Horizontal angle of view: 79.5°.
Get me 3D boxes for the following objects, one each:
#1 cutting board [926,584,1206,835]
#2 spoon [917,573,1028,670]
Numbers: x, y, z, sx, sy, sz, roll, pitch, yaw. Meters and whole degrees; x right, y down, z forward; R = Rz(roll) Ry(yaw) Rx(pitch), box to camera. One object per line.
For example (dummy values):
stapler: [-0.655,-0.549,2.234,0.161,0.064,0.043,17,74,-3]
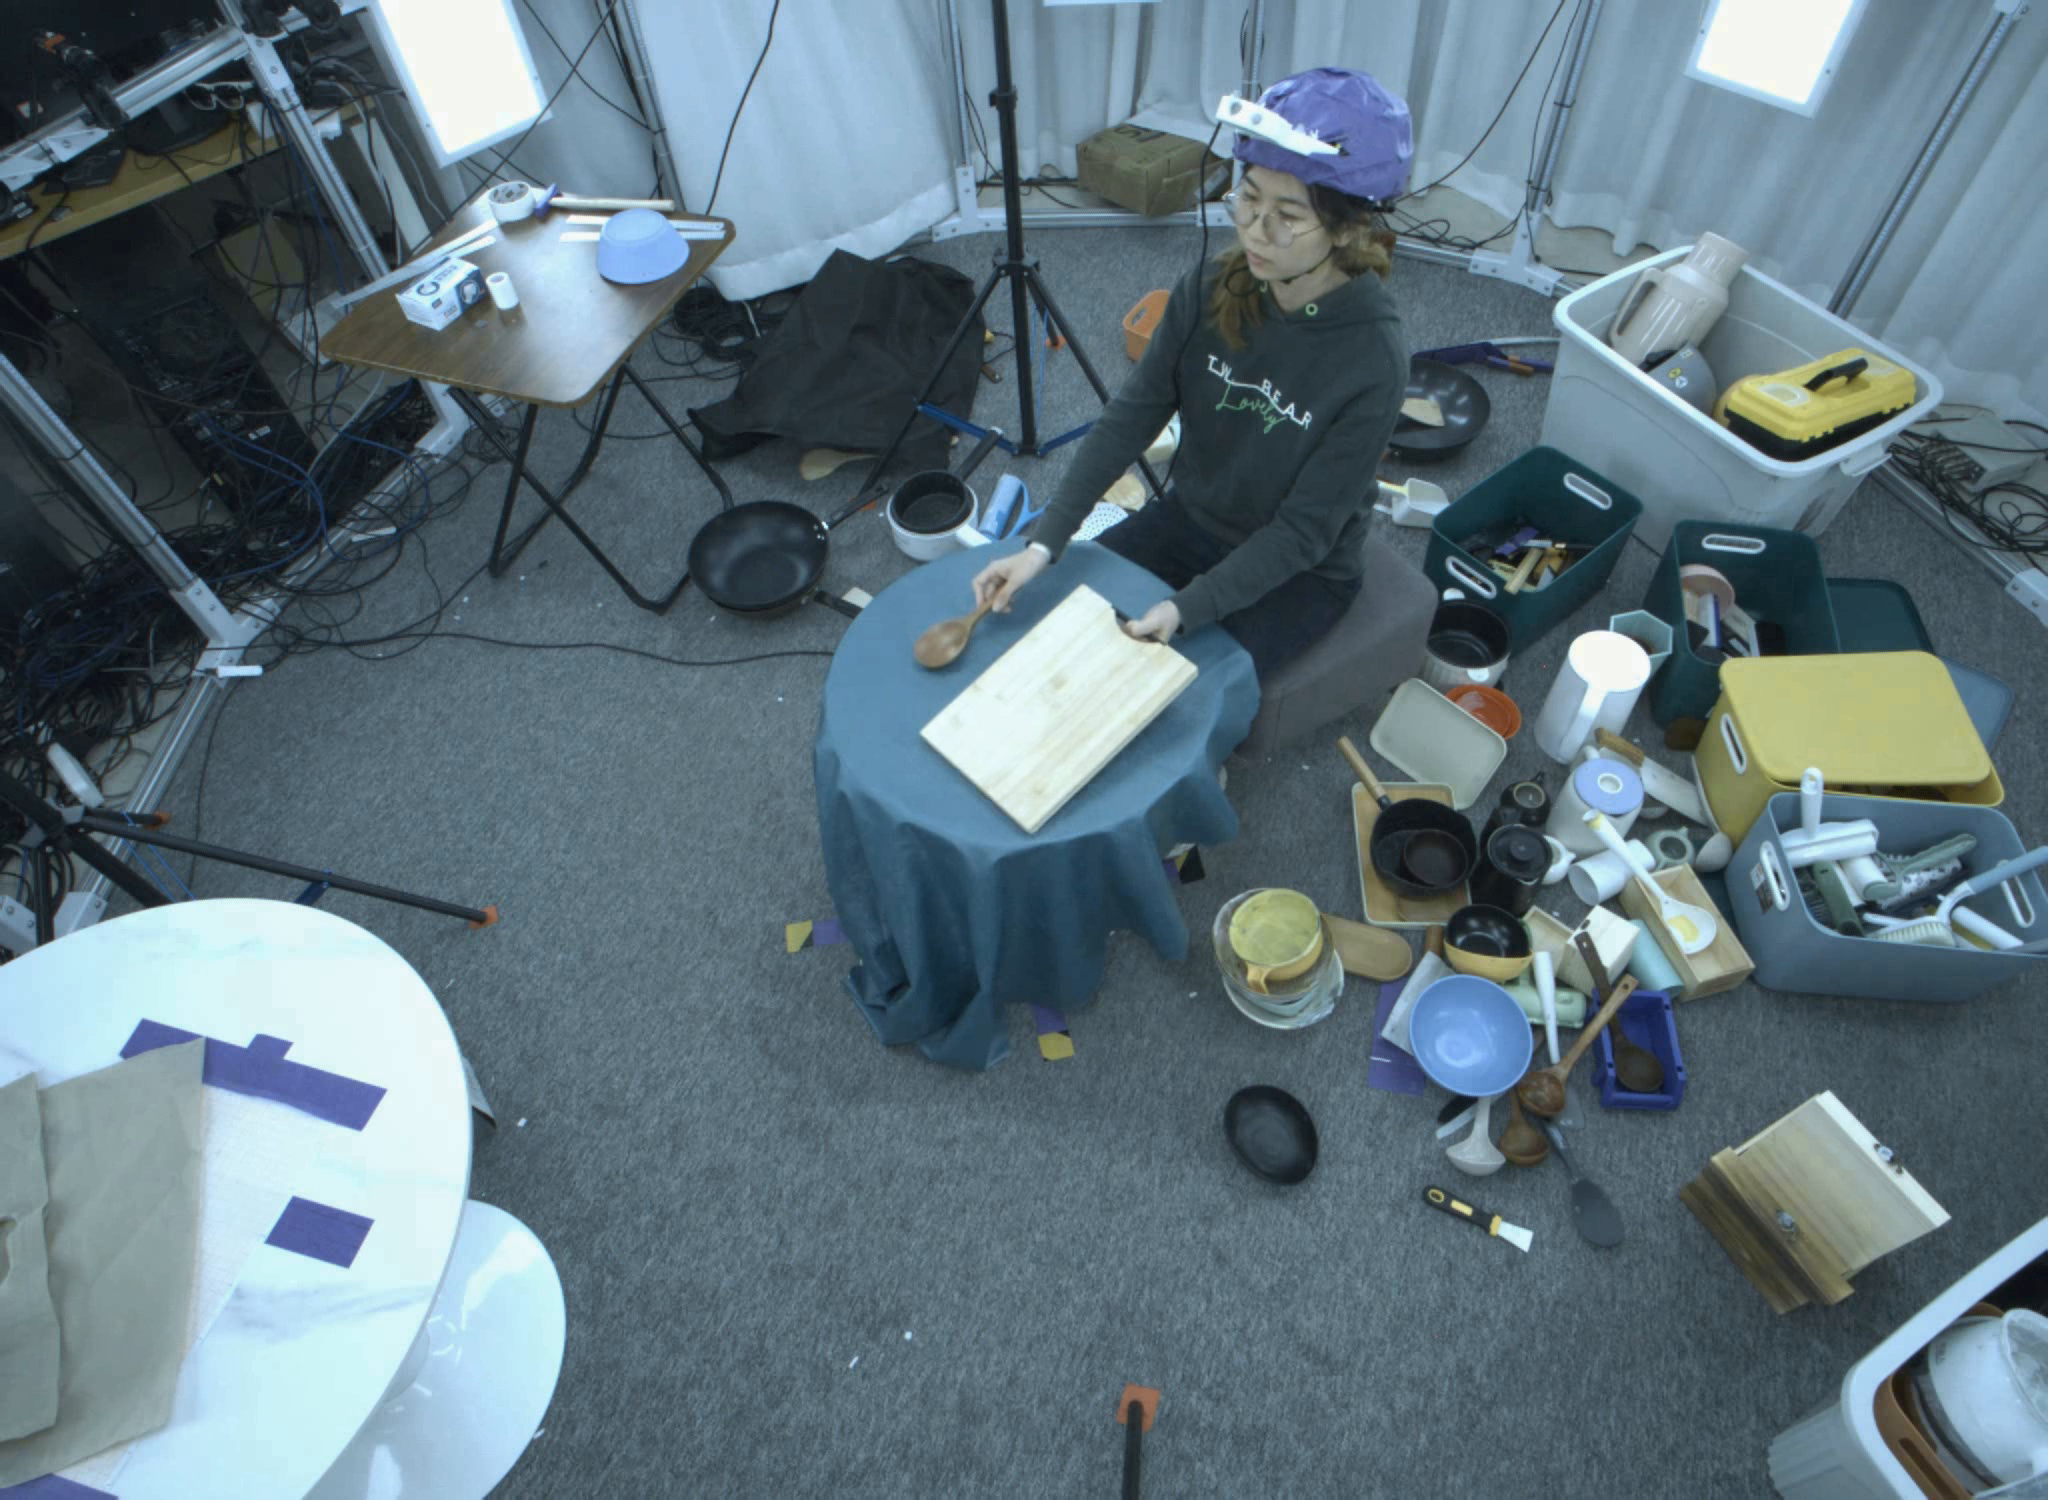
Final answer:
cutting board: [0.057,-0.068,1.791,0.350,0.024,0.246,-44,64,-13]
spoon: [-0.077,-0.199,1.901,0.216,0.017,0.074,-43,61,-10]
